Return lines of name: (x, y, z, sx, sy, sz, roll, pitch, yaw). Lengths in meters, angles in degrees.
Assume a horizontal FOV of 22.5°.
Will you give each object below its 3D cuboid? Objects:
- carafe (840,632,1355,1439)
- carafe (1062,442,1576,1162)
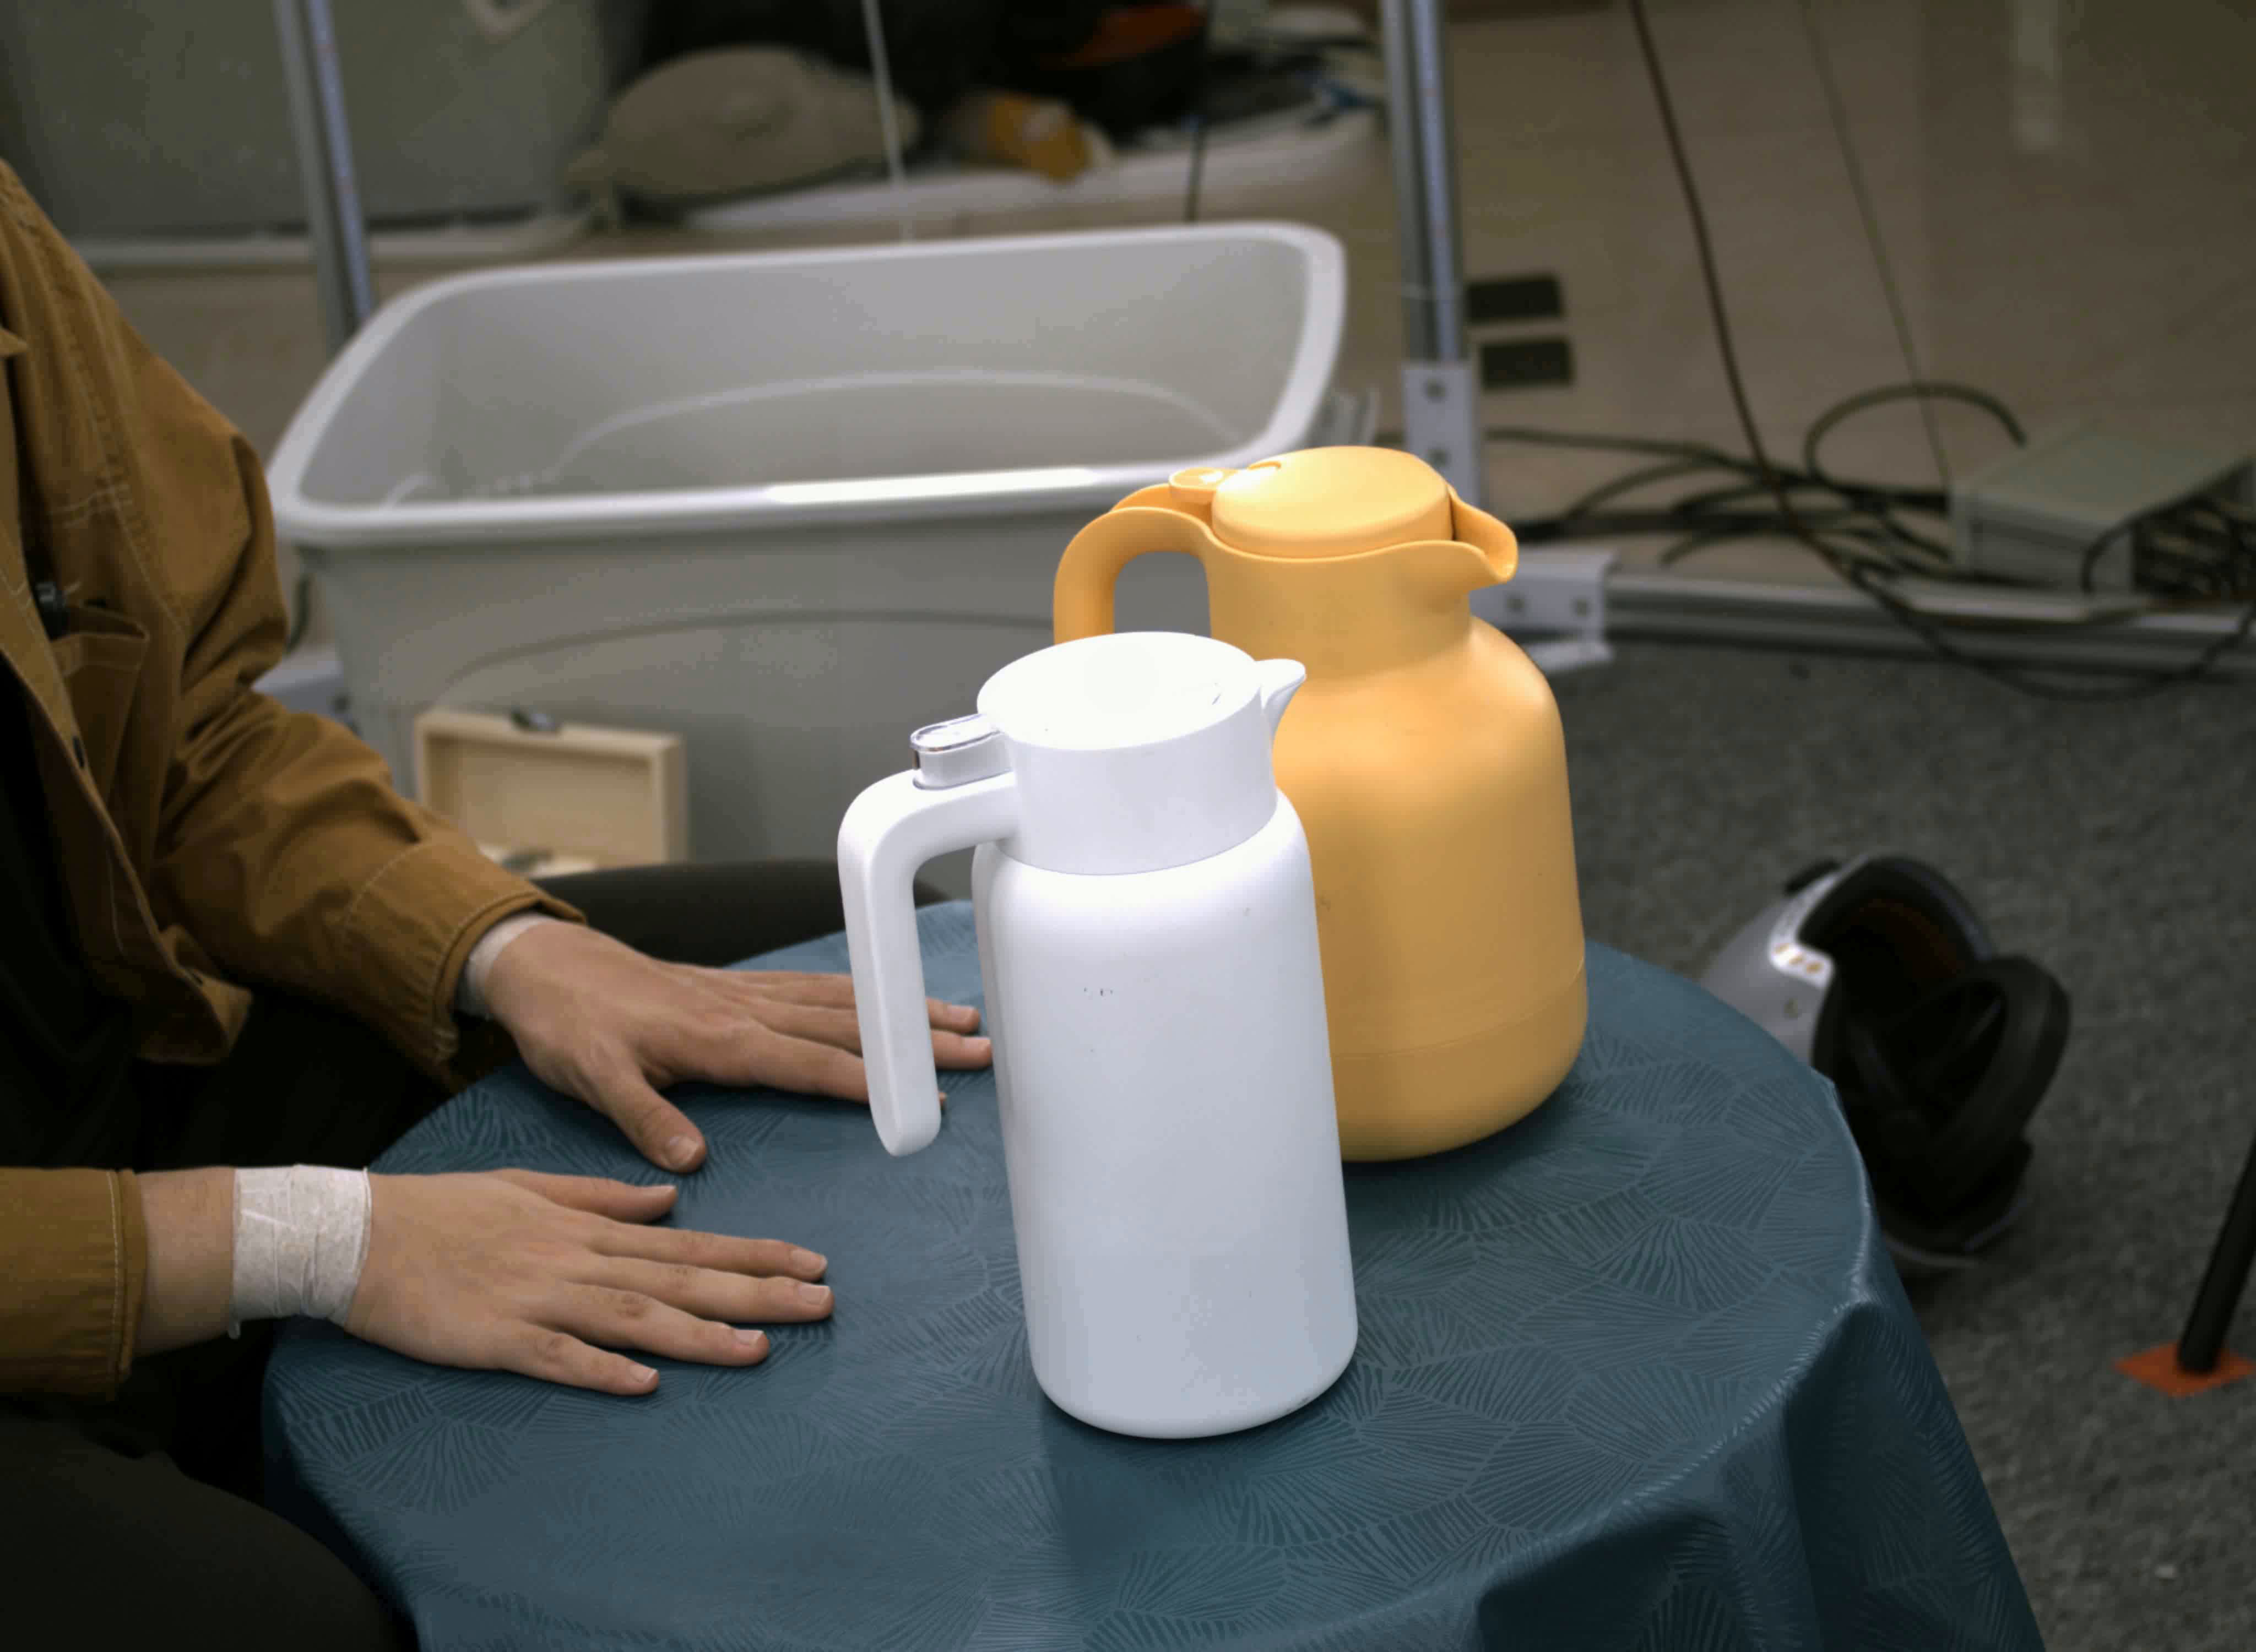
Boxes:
carafe: (-0.005, 0.077, 1.962, 0.172, 0.273, 0.122, -16, 29, -19)
carafe: (0.070, -0.017, 2.151, 0.201, 0.264, 0.162, 12, 29, 31)
